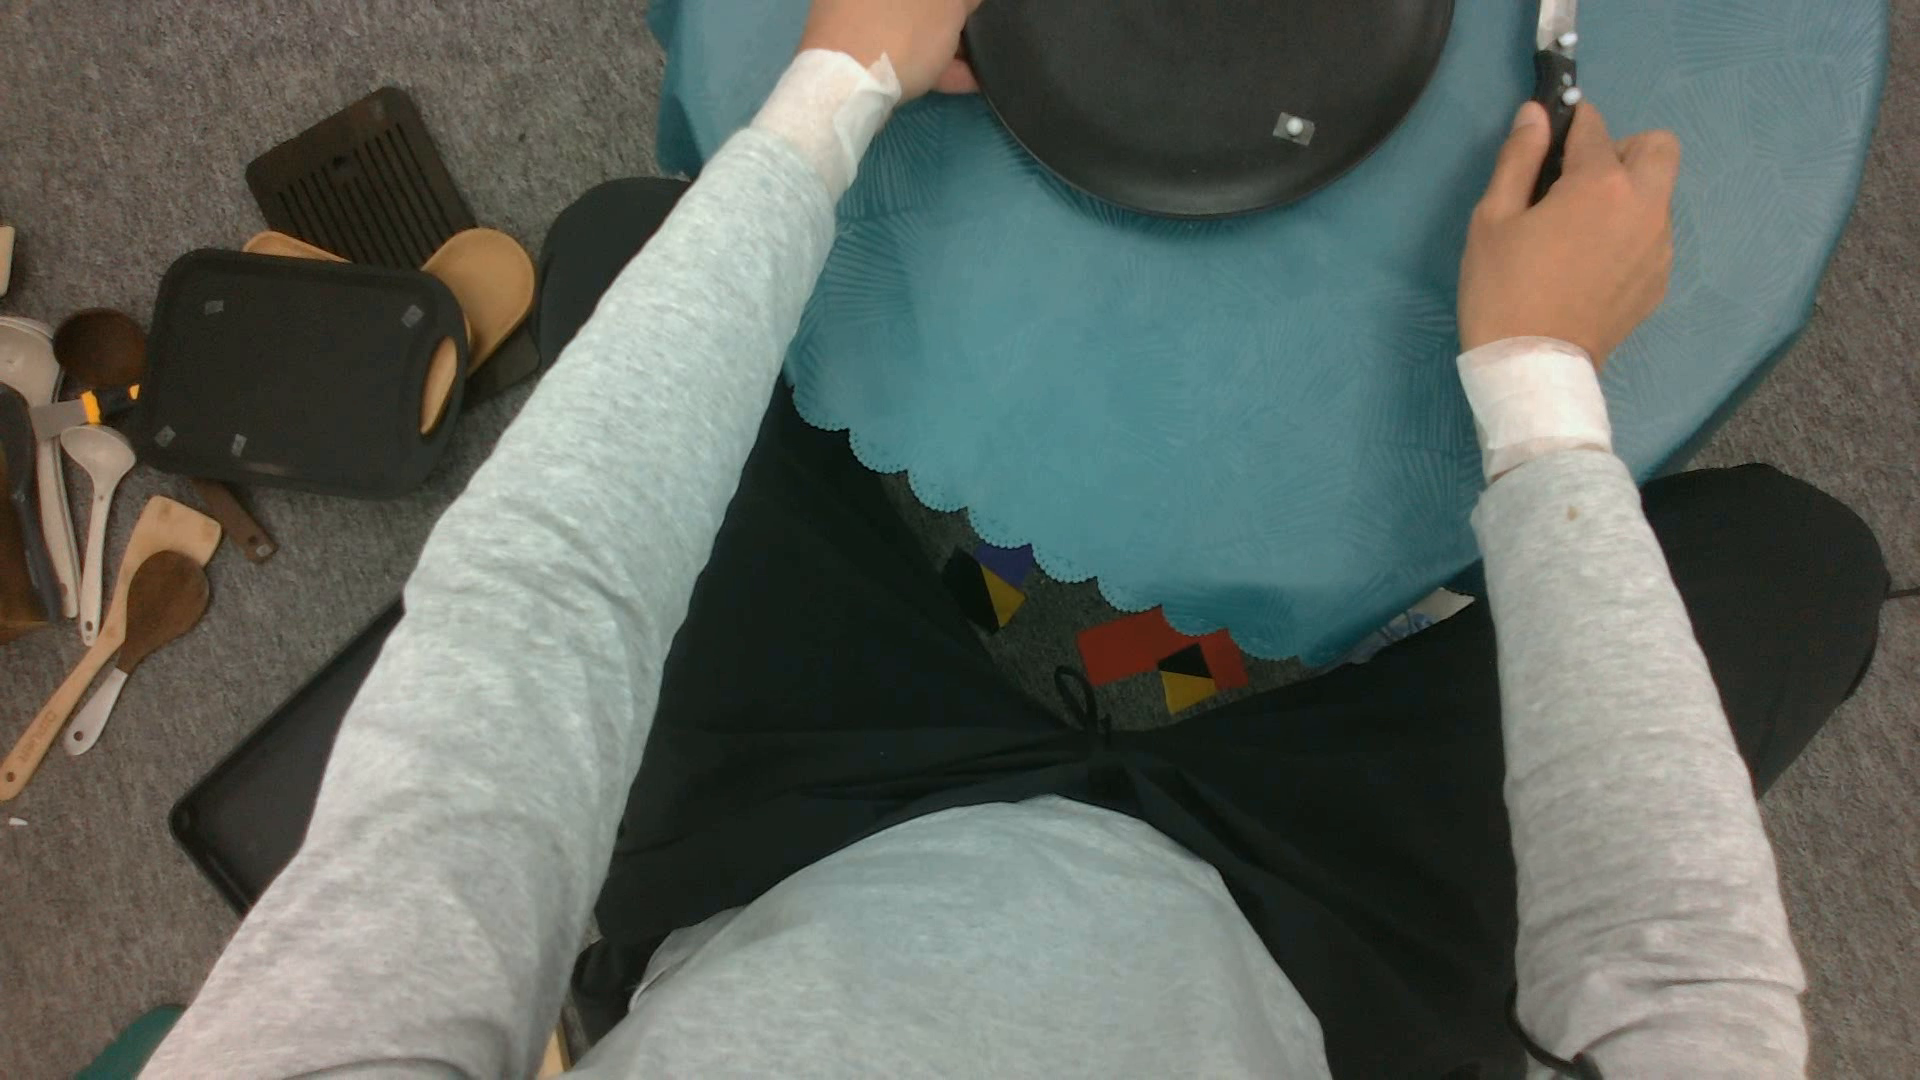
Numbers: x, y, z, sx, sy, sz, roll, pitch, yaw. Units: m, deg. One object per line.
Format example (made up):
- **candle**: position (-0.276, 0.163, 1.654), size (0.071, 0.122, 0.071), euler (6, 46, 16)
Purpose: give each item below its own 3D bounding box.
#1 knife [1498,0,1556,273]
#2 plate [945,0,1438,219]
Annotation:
- **knife**: position (0.283, -0.243, 0.676), size (0.024, 0.016, 0.238), euler (10, 81, -17)
- **plate**: position (0.114, -0.278, 0.688), size (0.244, 0.023, 0.244), euler (0, 86, 3)
